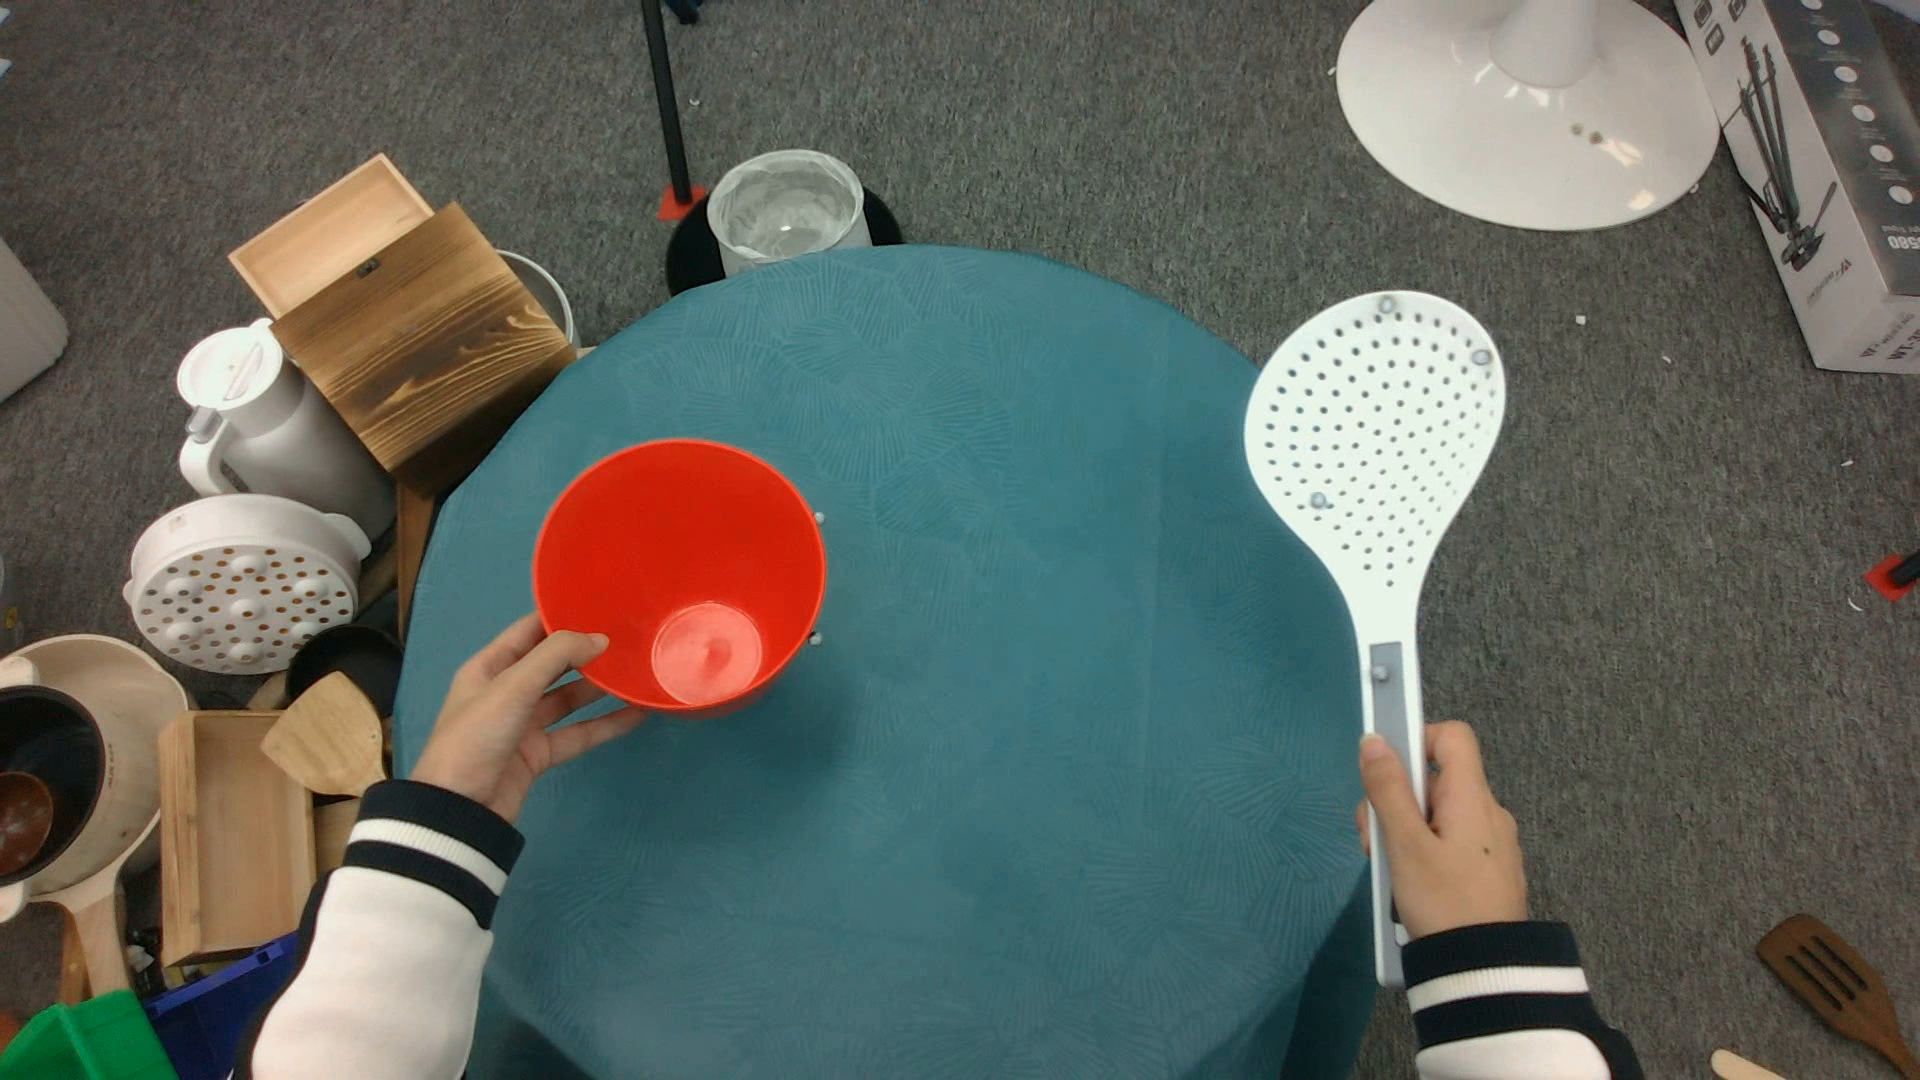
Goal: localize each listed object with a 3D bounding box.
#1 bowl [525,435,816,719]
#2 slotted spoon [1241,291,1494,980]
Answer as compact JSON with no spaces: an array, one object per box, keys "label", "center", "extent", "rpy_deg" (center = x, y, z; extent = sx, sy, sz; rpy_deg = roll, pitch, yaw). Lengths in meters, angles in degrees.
[{"label":"bowl","center":[-0.153,0.032,0.746],"extent":[0.148,0.104,0.148],"rpy_deg":[4,59,-6]},{"label":"slotted spoon","center":[0.207,0.035,0.683],"extent":[0.135,0.046,0.351],"rpy_deg":[-12,59,34]}]
